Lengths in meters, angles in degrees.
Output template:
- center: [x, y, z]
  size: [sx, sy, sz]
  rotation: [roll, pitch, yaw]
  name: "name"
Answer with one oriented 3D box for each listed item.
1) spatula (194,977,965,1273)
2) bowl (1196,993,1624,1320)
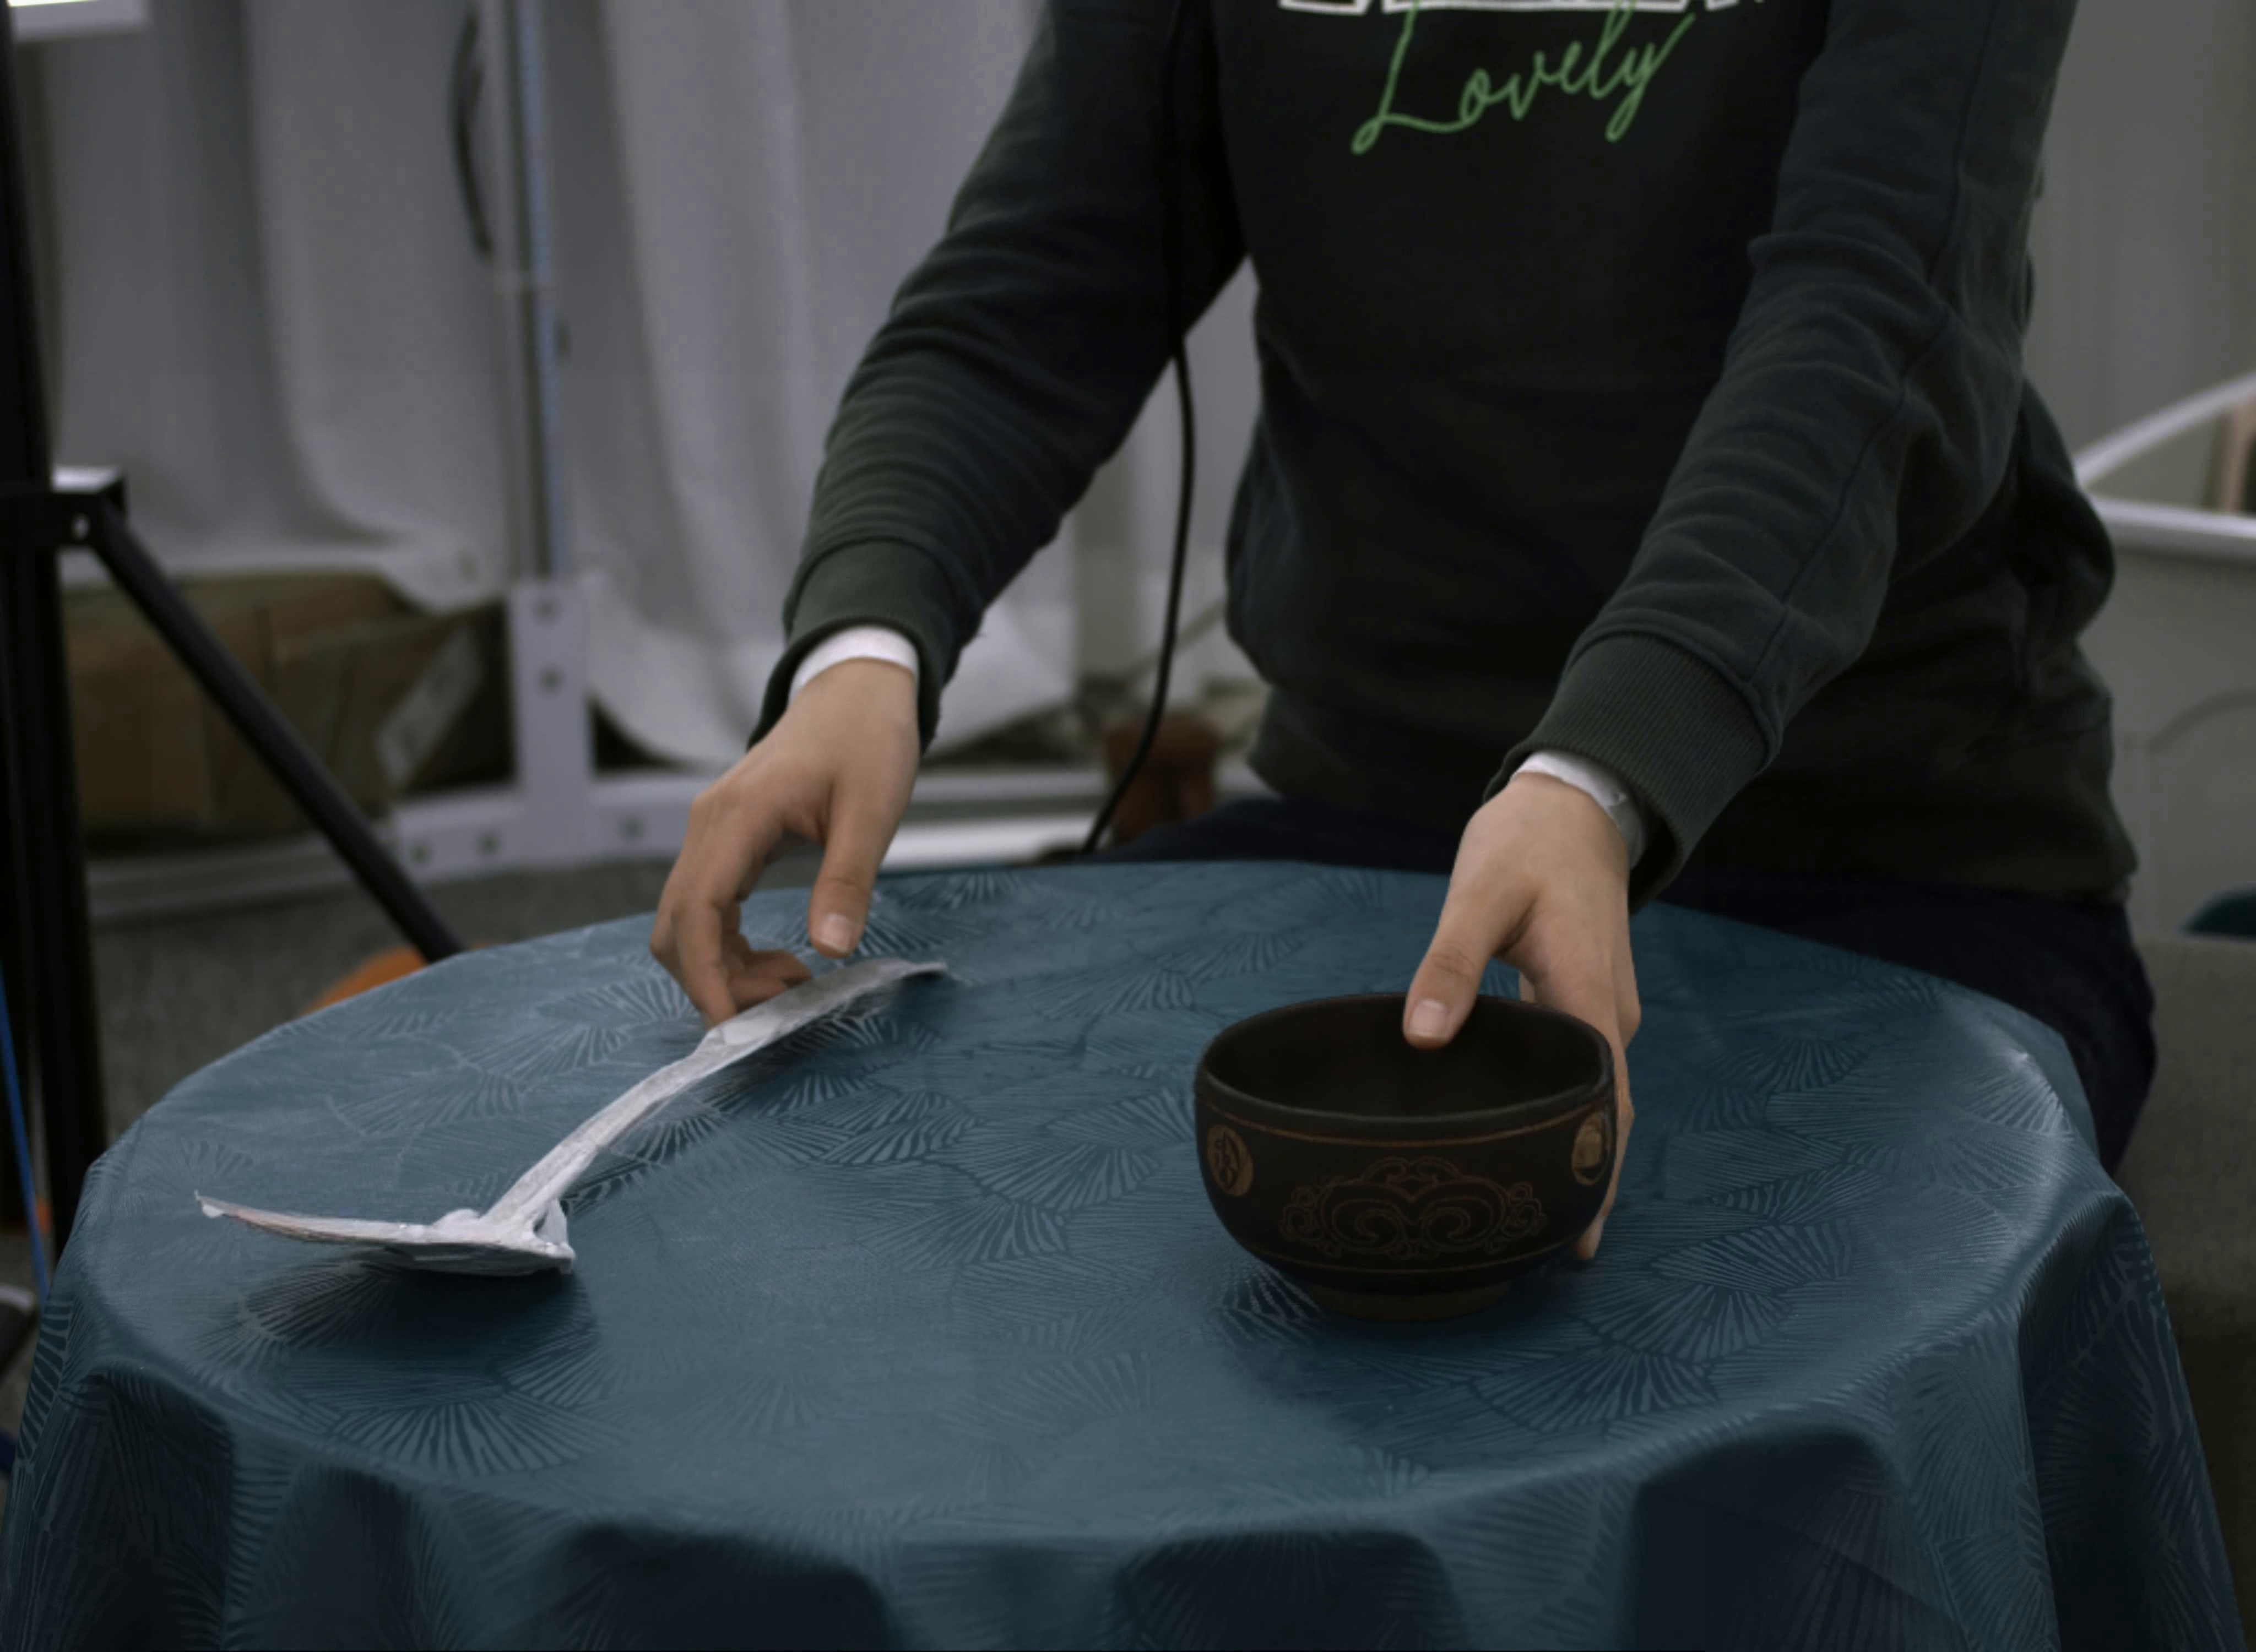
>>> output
- center: [-0.144, 0.080, 1.609]
  size: [0.100, 0.045, 0.359]
  rotation: [3, 17, 27]
  name: "spatula"
- center: [0.078, 0.095, 1.462]
  size: [0.117, 0.070, 0.118]
  rotation: [-1, 14, -1]
  name: "bowl"
